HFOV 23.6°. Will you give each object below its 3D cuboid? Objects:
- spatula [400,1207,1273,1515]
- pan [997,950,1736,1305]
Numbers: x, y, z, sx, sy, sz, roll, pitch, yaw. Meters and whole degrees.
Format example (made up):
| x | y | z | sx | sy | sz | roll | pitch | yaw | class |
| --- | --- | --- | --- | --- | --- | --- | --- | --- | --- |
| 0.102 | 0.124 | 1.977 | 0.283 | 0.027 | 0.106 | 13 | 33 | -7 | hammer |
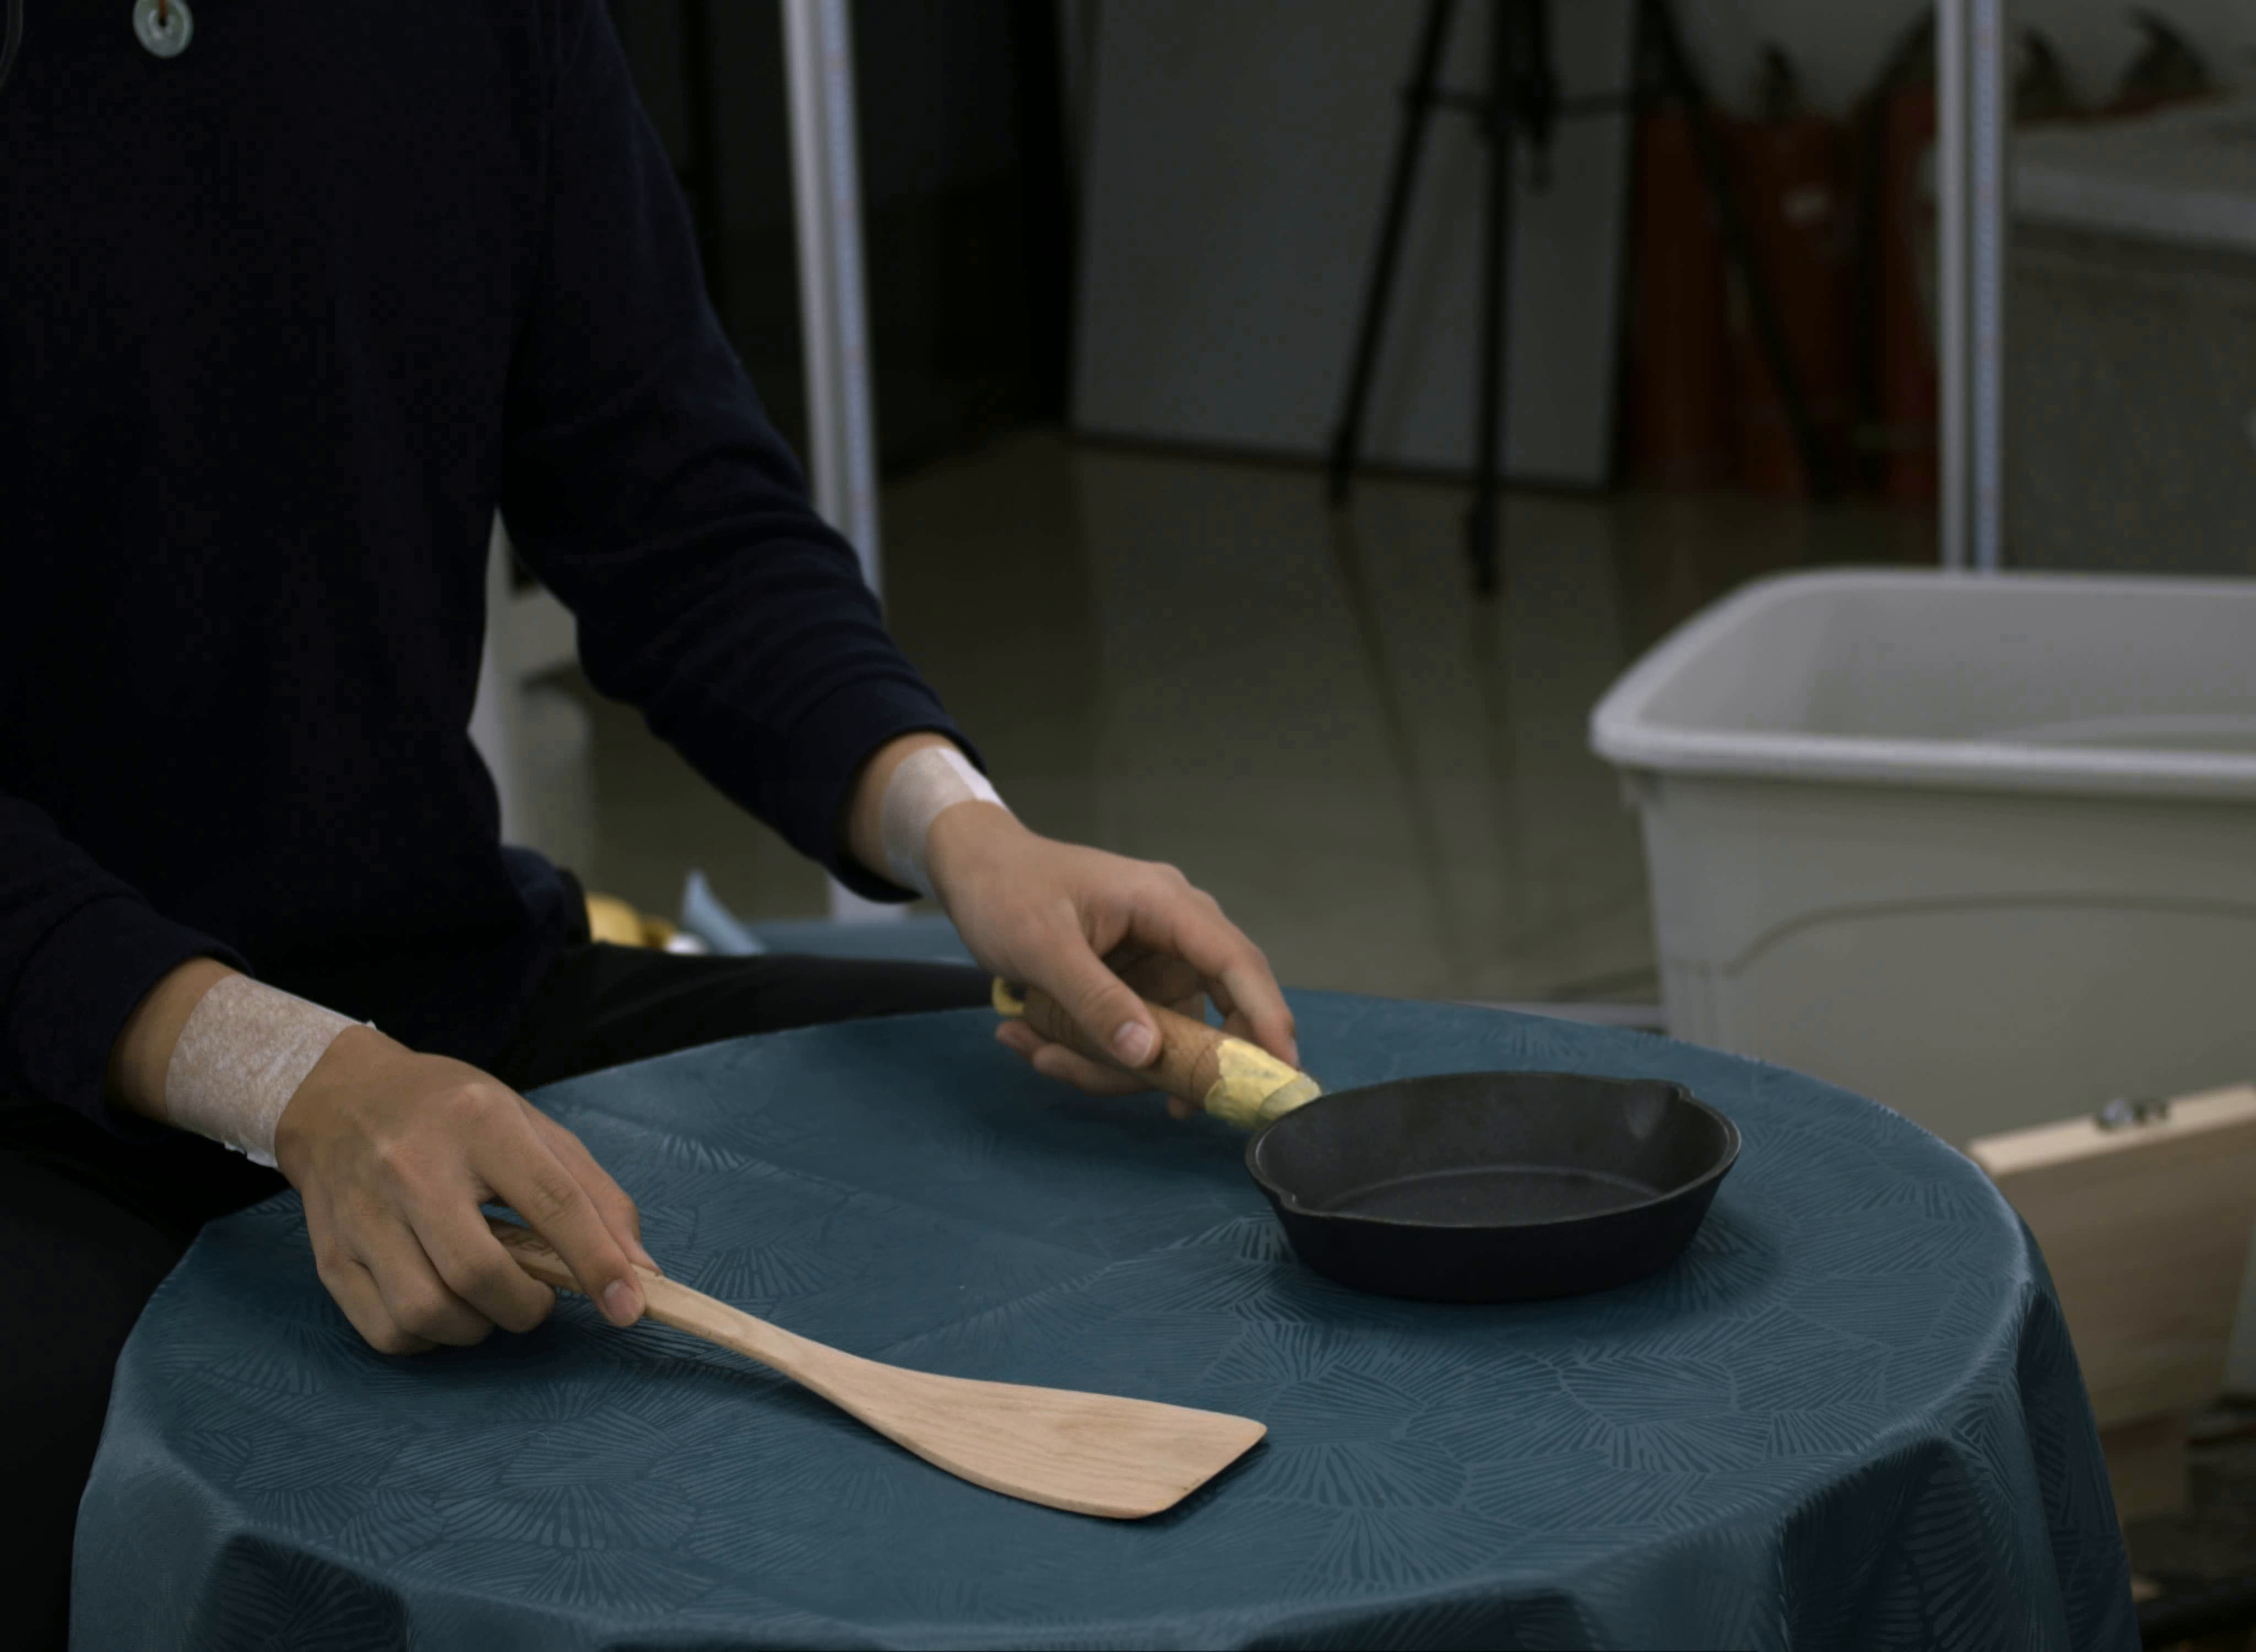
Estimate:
| x | y | z | sx | sy | sz | roll | pitch | yaw | class |
| --- | --- | --- | --- | --- | --- | --- | --- | --- | --- |
| -0.096 | 0.153 | 1.603 | 0.330 | 0.017 | 0.078 | 15 | 21 | 37 | spatula |
| 0.062 | 0.093 | 1.758 | 0.165 | 0.050 | 0.327 | -14 | 18 | -35 | pan |
